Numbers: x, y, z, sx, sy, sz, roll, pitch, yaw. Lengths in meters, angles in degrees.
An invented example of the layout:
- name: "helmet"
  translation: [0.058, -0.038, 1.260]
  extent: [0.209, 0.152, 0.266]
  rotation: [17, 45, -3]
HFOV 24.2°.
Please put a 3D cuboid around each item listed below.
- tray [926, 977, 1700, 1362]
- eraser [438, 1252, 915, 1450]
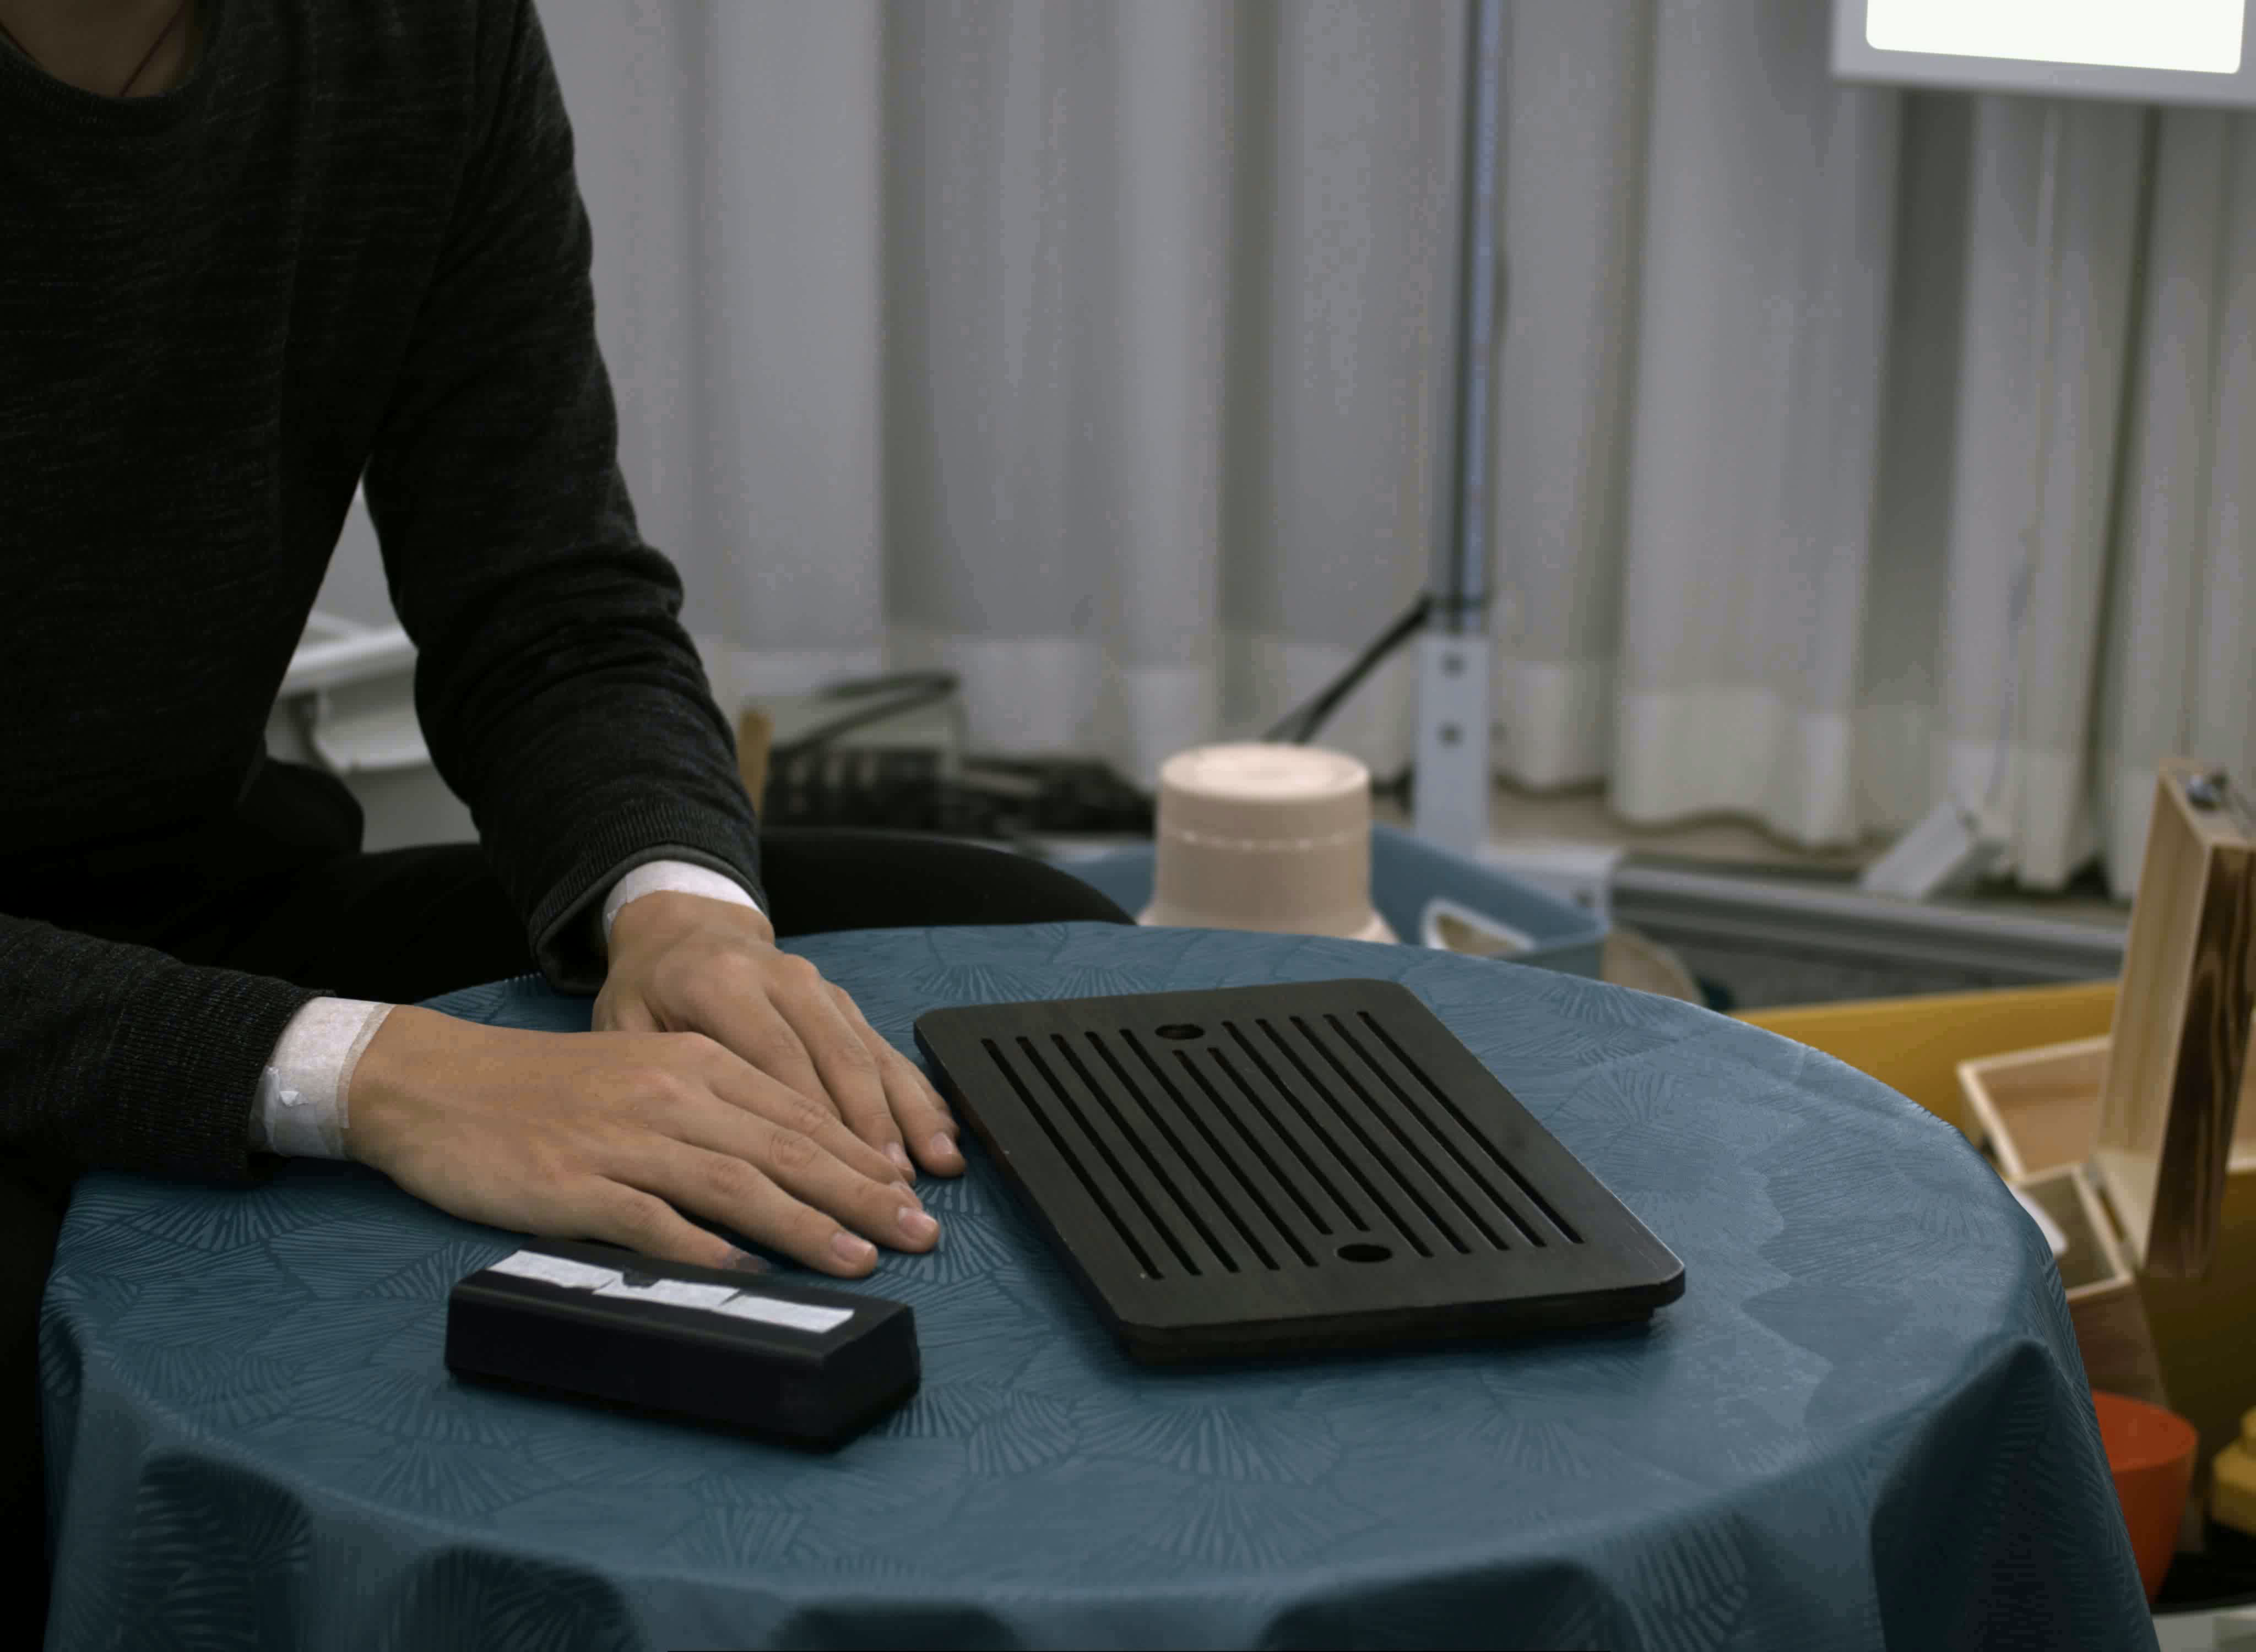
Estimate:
- name: "tray"
  translation: [0.049, 0.102, 1.625]
  extent: [0.170, 0.019, 0.303]
  rotation: [-4, 16, -13]
- name: "eraser"
  translation: [-0.124, 0.144, 1.451]
  extent: [0.124, 0.030, 0.053]
  rotation: [7, 14, 25]
